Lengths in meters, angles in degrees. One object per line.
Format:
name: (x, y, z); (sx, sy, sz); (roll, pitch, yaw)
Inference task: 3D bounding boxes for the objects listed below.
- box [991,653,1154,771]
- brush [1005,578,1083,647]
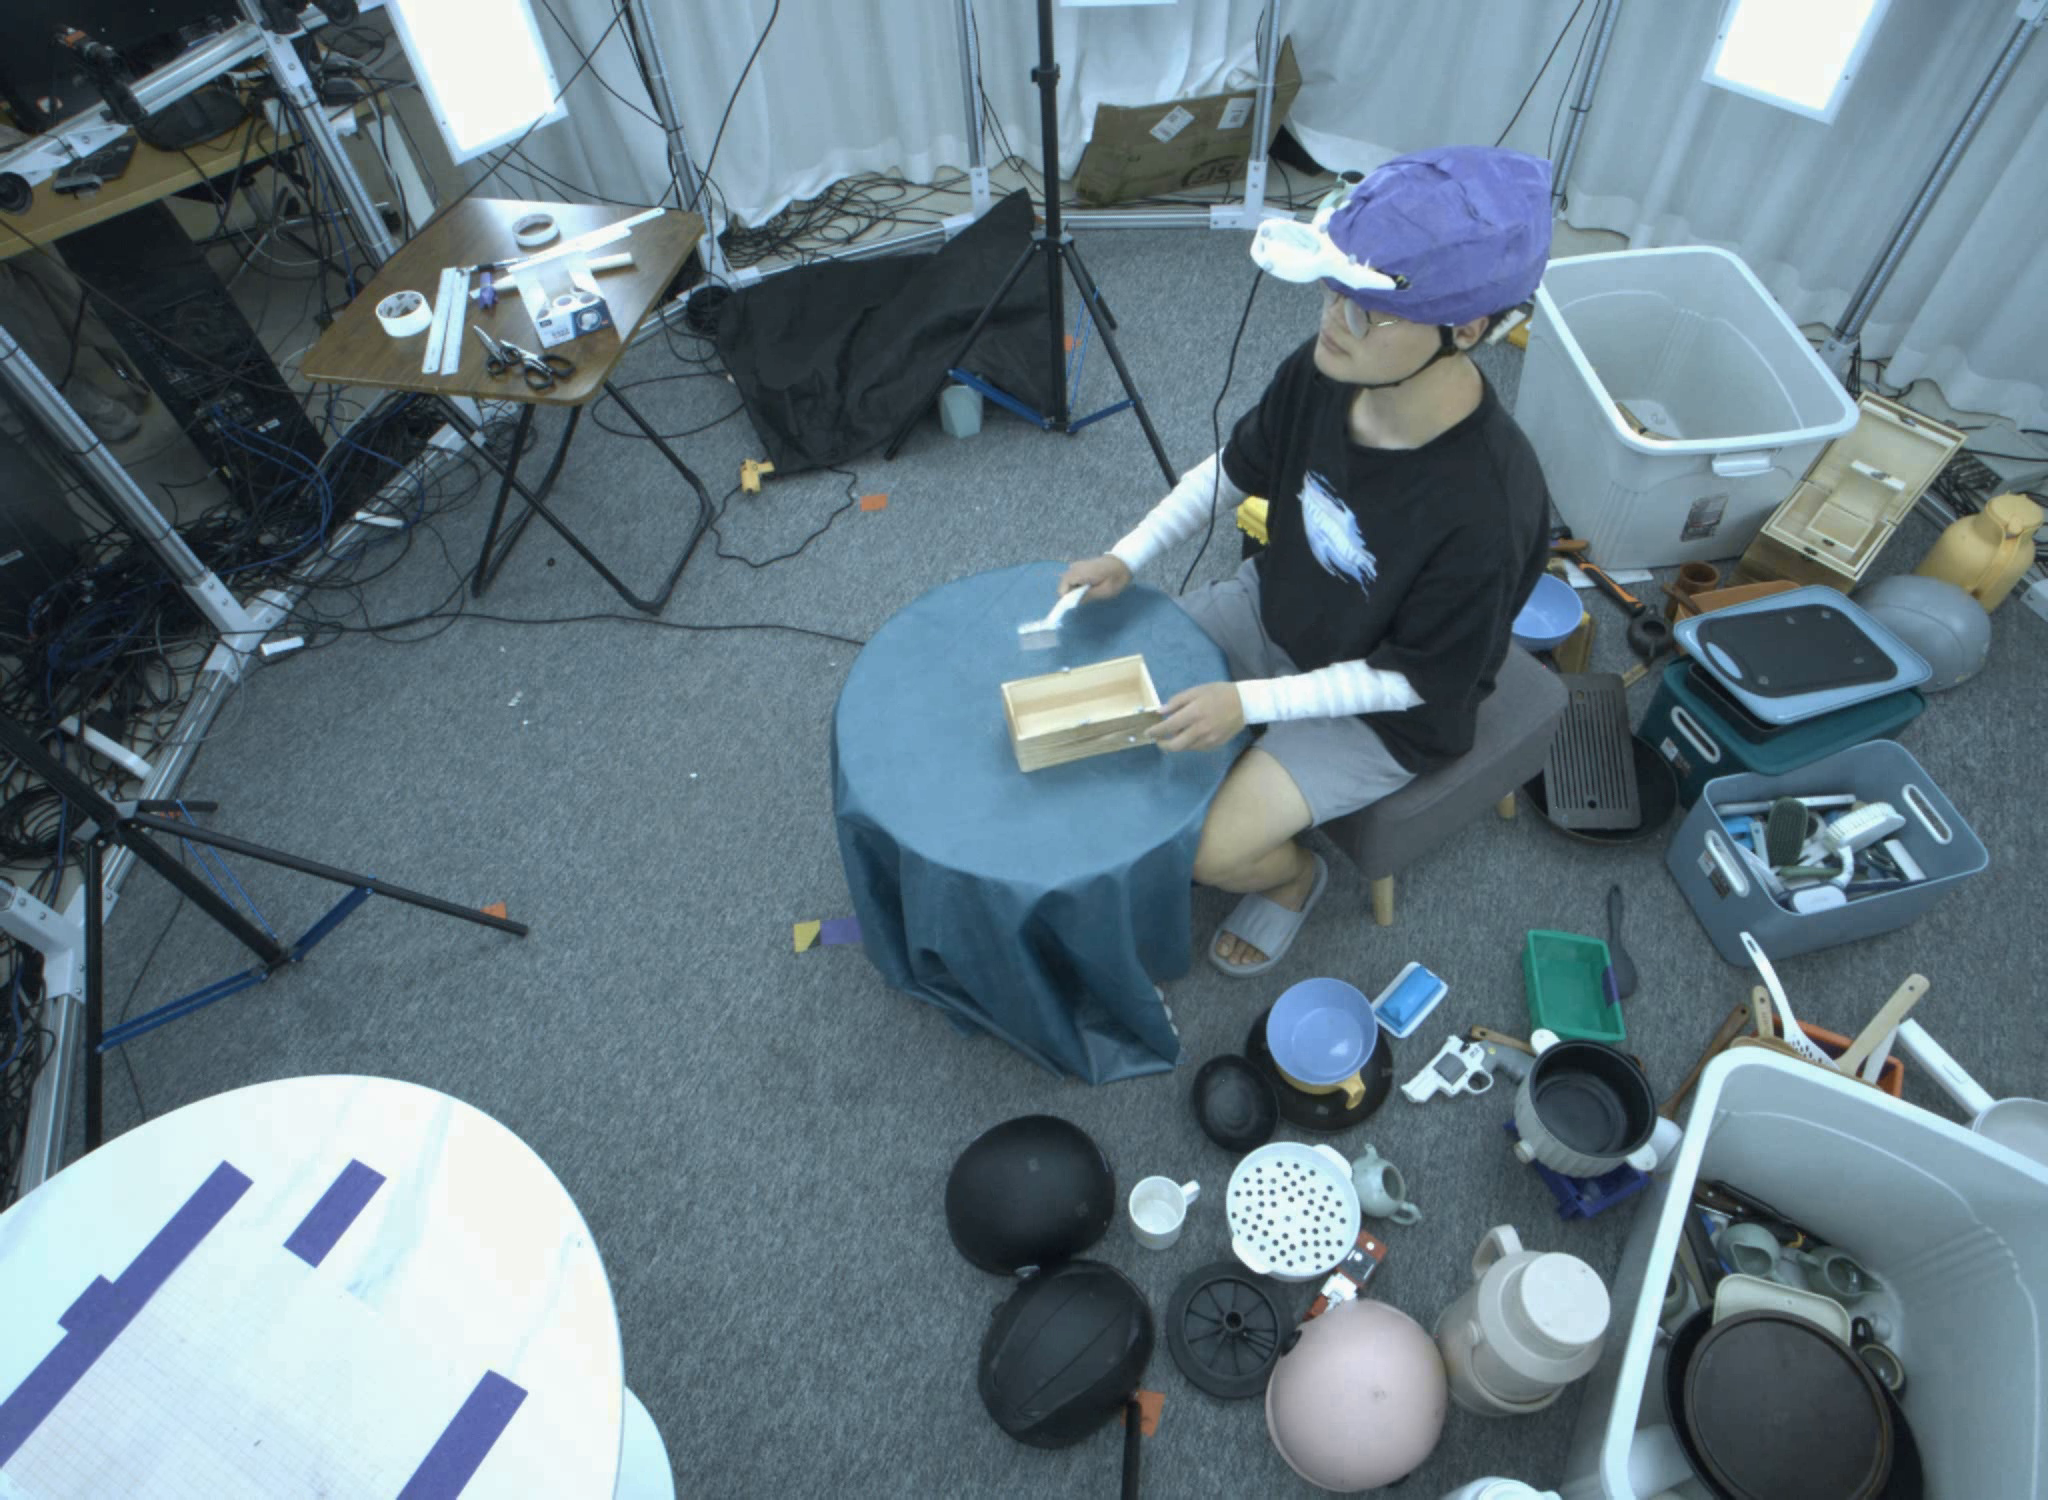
box: (0.069, -0.056, 1.767); (0.212, 0.081, 0.106); (-13, 54, -8)
brush: (0.038, -0.199, 1.801); (0.034, 0.050, 0.245); (-11, 17, 30)
